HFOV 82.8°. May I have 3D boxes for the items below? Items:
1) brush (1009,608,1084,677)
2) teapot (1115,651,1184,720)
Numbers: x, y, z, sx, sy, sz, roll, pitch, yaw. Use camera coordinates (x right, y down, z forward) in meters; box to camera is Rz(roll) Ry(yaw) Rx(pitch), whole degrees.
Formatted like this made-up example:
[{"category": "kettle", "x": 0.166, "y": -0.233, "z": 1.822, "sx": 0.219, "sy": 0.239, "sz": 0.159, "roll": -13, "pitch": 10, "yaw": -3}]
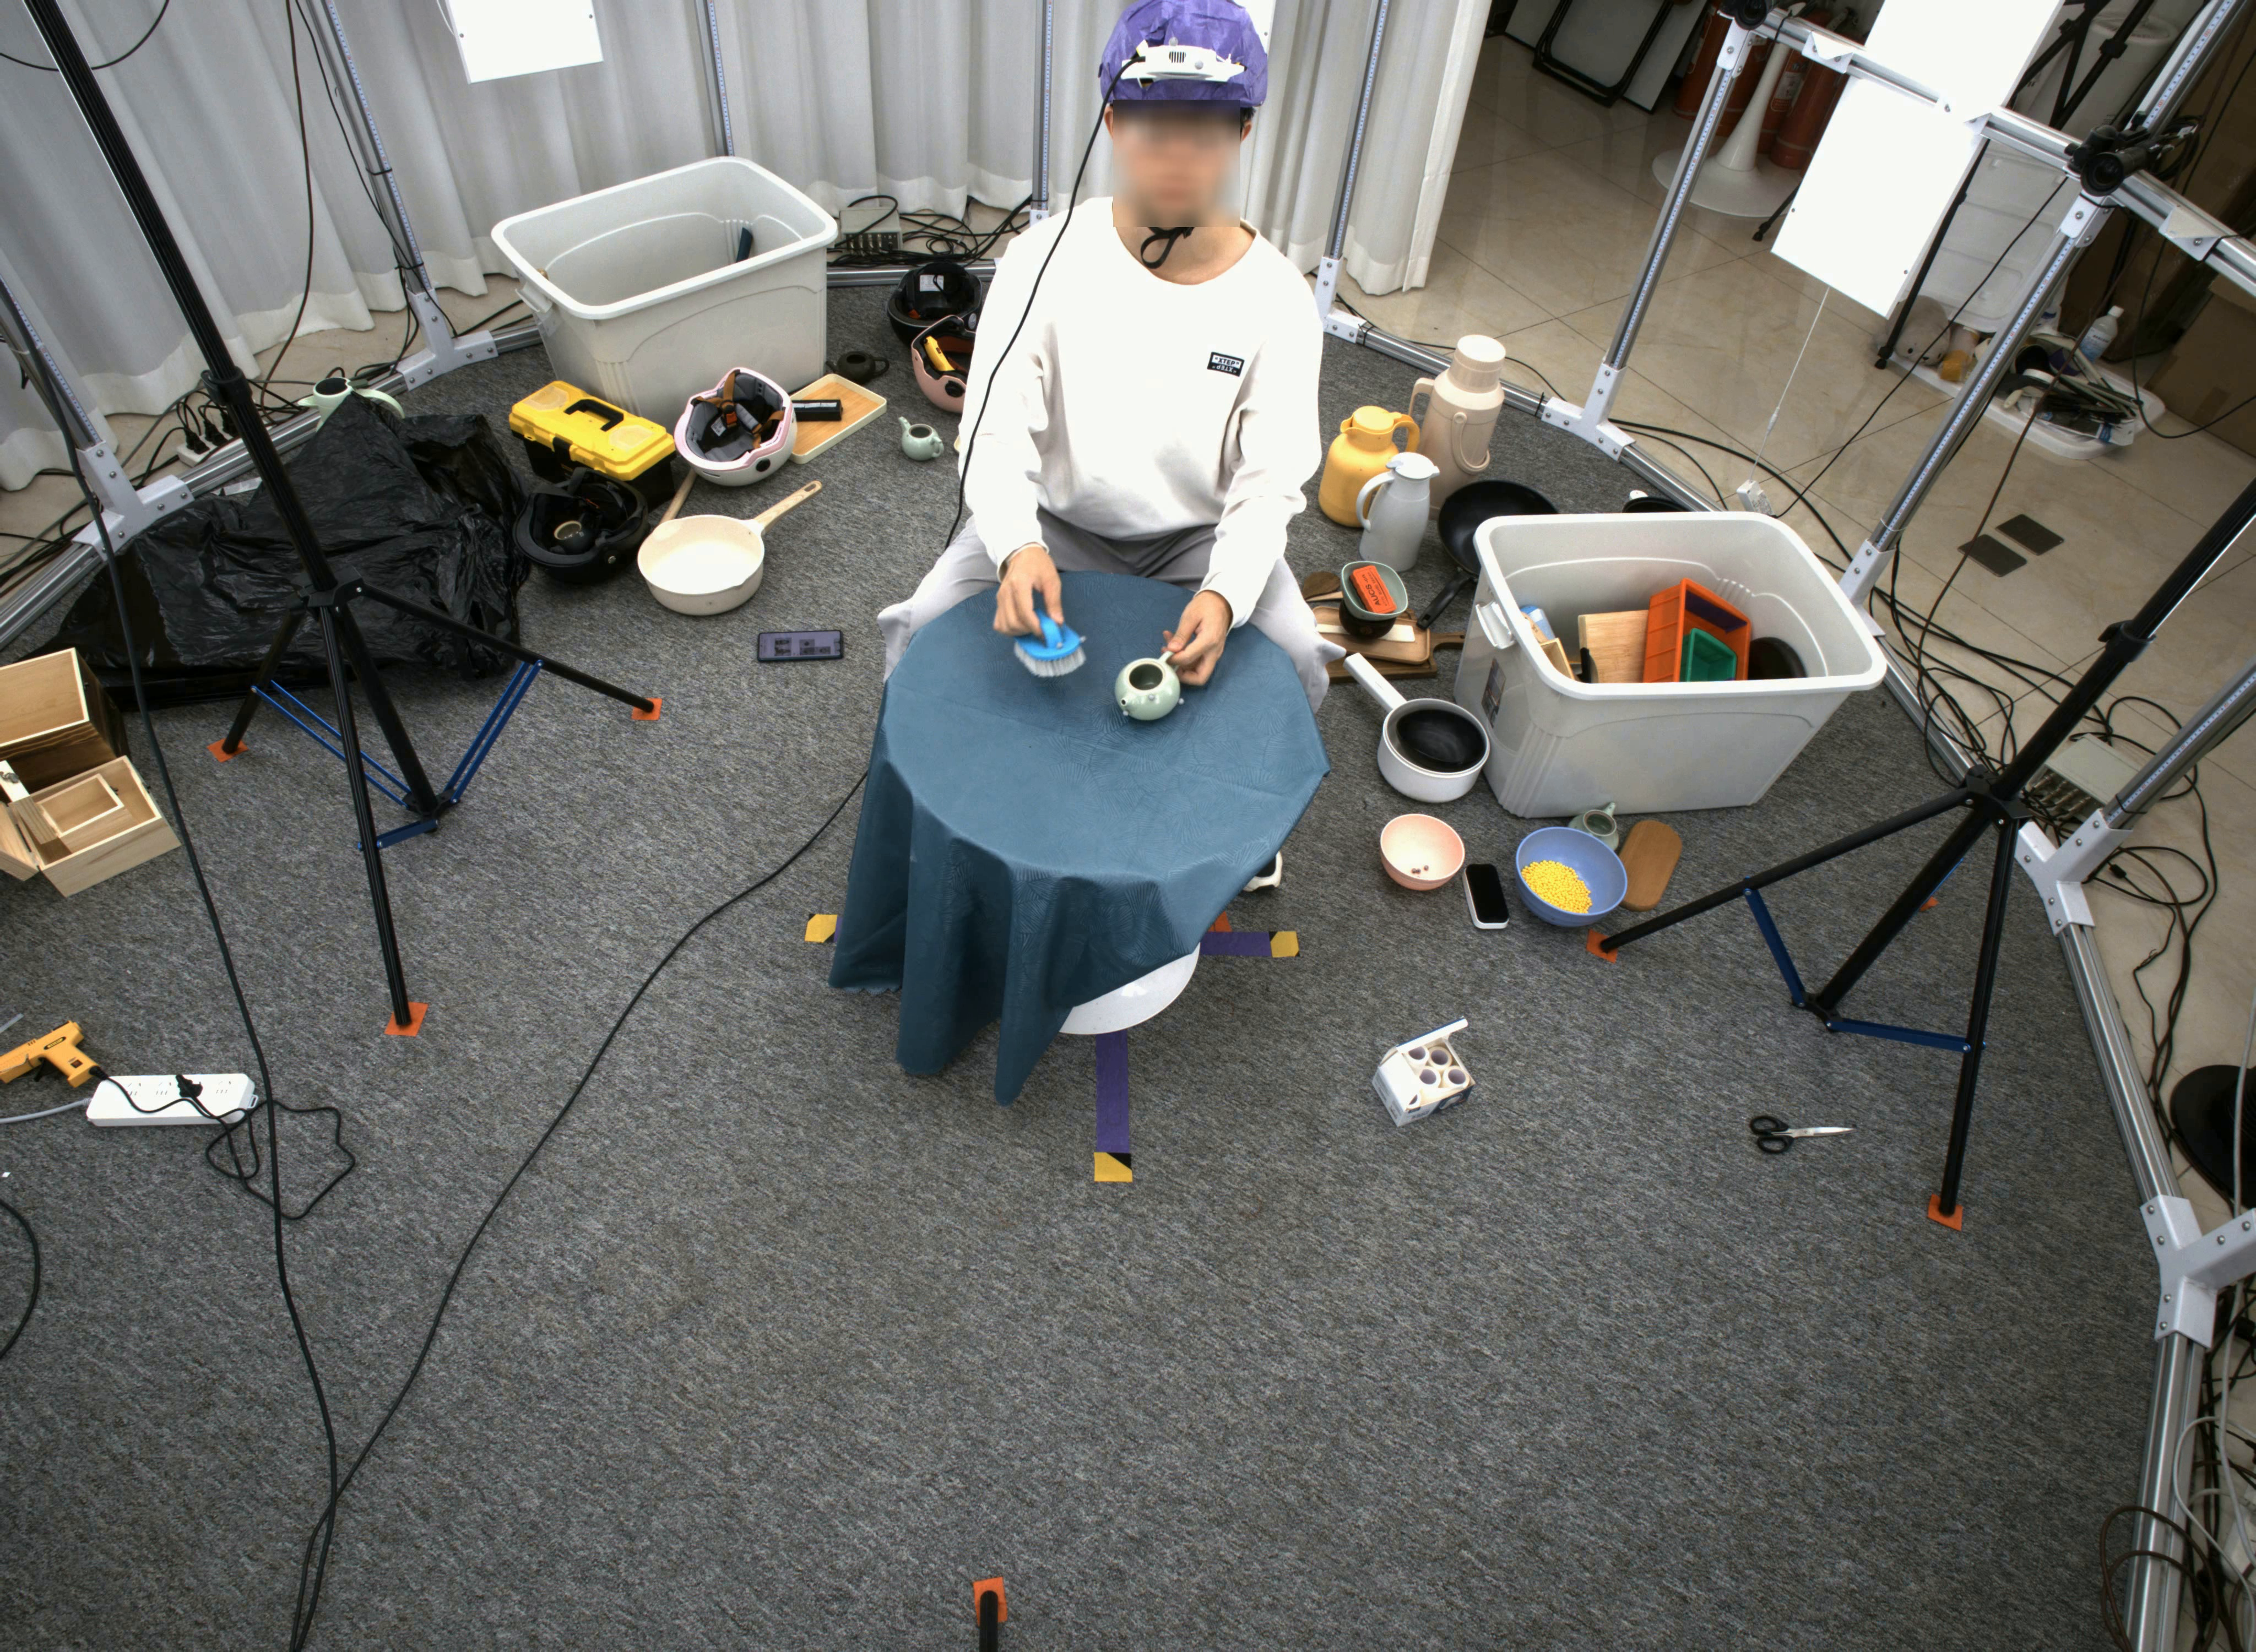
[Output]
[{"category": "brush", "x": -0.118, "y": -0.264, "z": 1.787, "sx": 0.084, "sy": 0.062, "sz": 0.145, "roll": -23, "pitch": 33, "yaw": -11}, {"category": "teapot", "x": 0.034, "y": -0.197, "z": 1.792, "sx": 0.093, "sy": 0.059, "sz": 0.130, "roll": 33, "pitch": 64, "yaw": 29}]
